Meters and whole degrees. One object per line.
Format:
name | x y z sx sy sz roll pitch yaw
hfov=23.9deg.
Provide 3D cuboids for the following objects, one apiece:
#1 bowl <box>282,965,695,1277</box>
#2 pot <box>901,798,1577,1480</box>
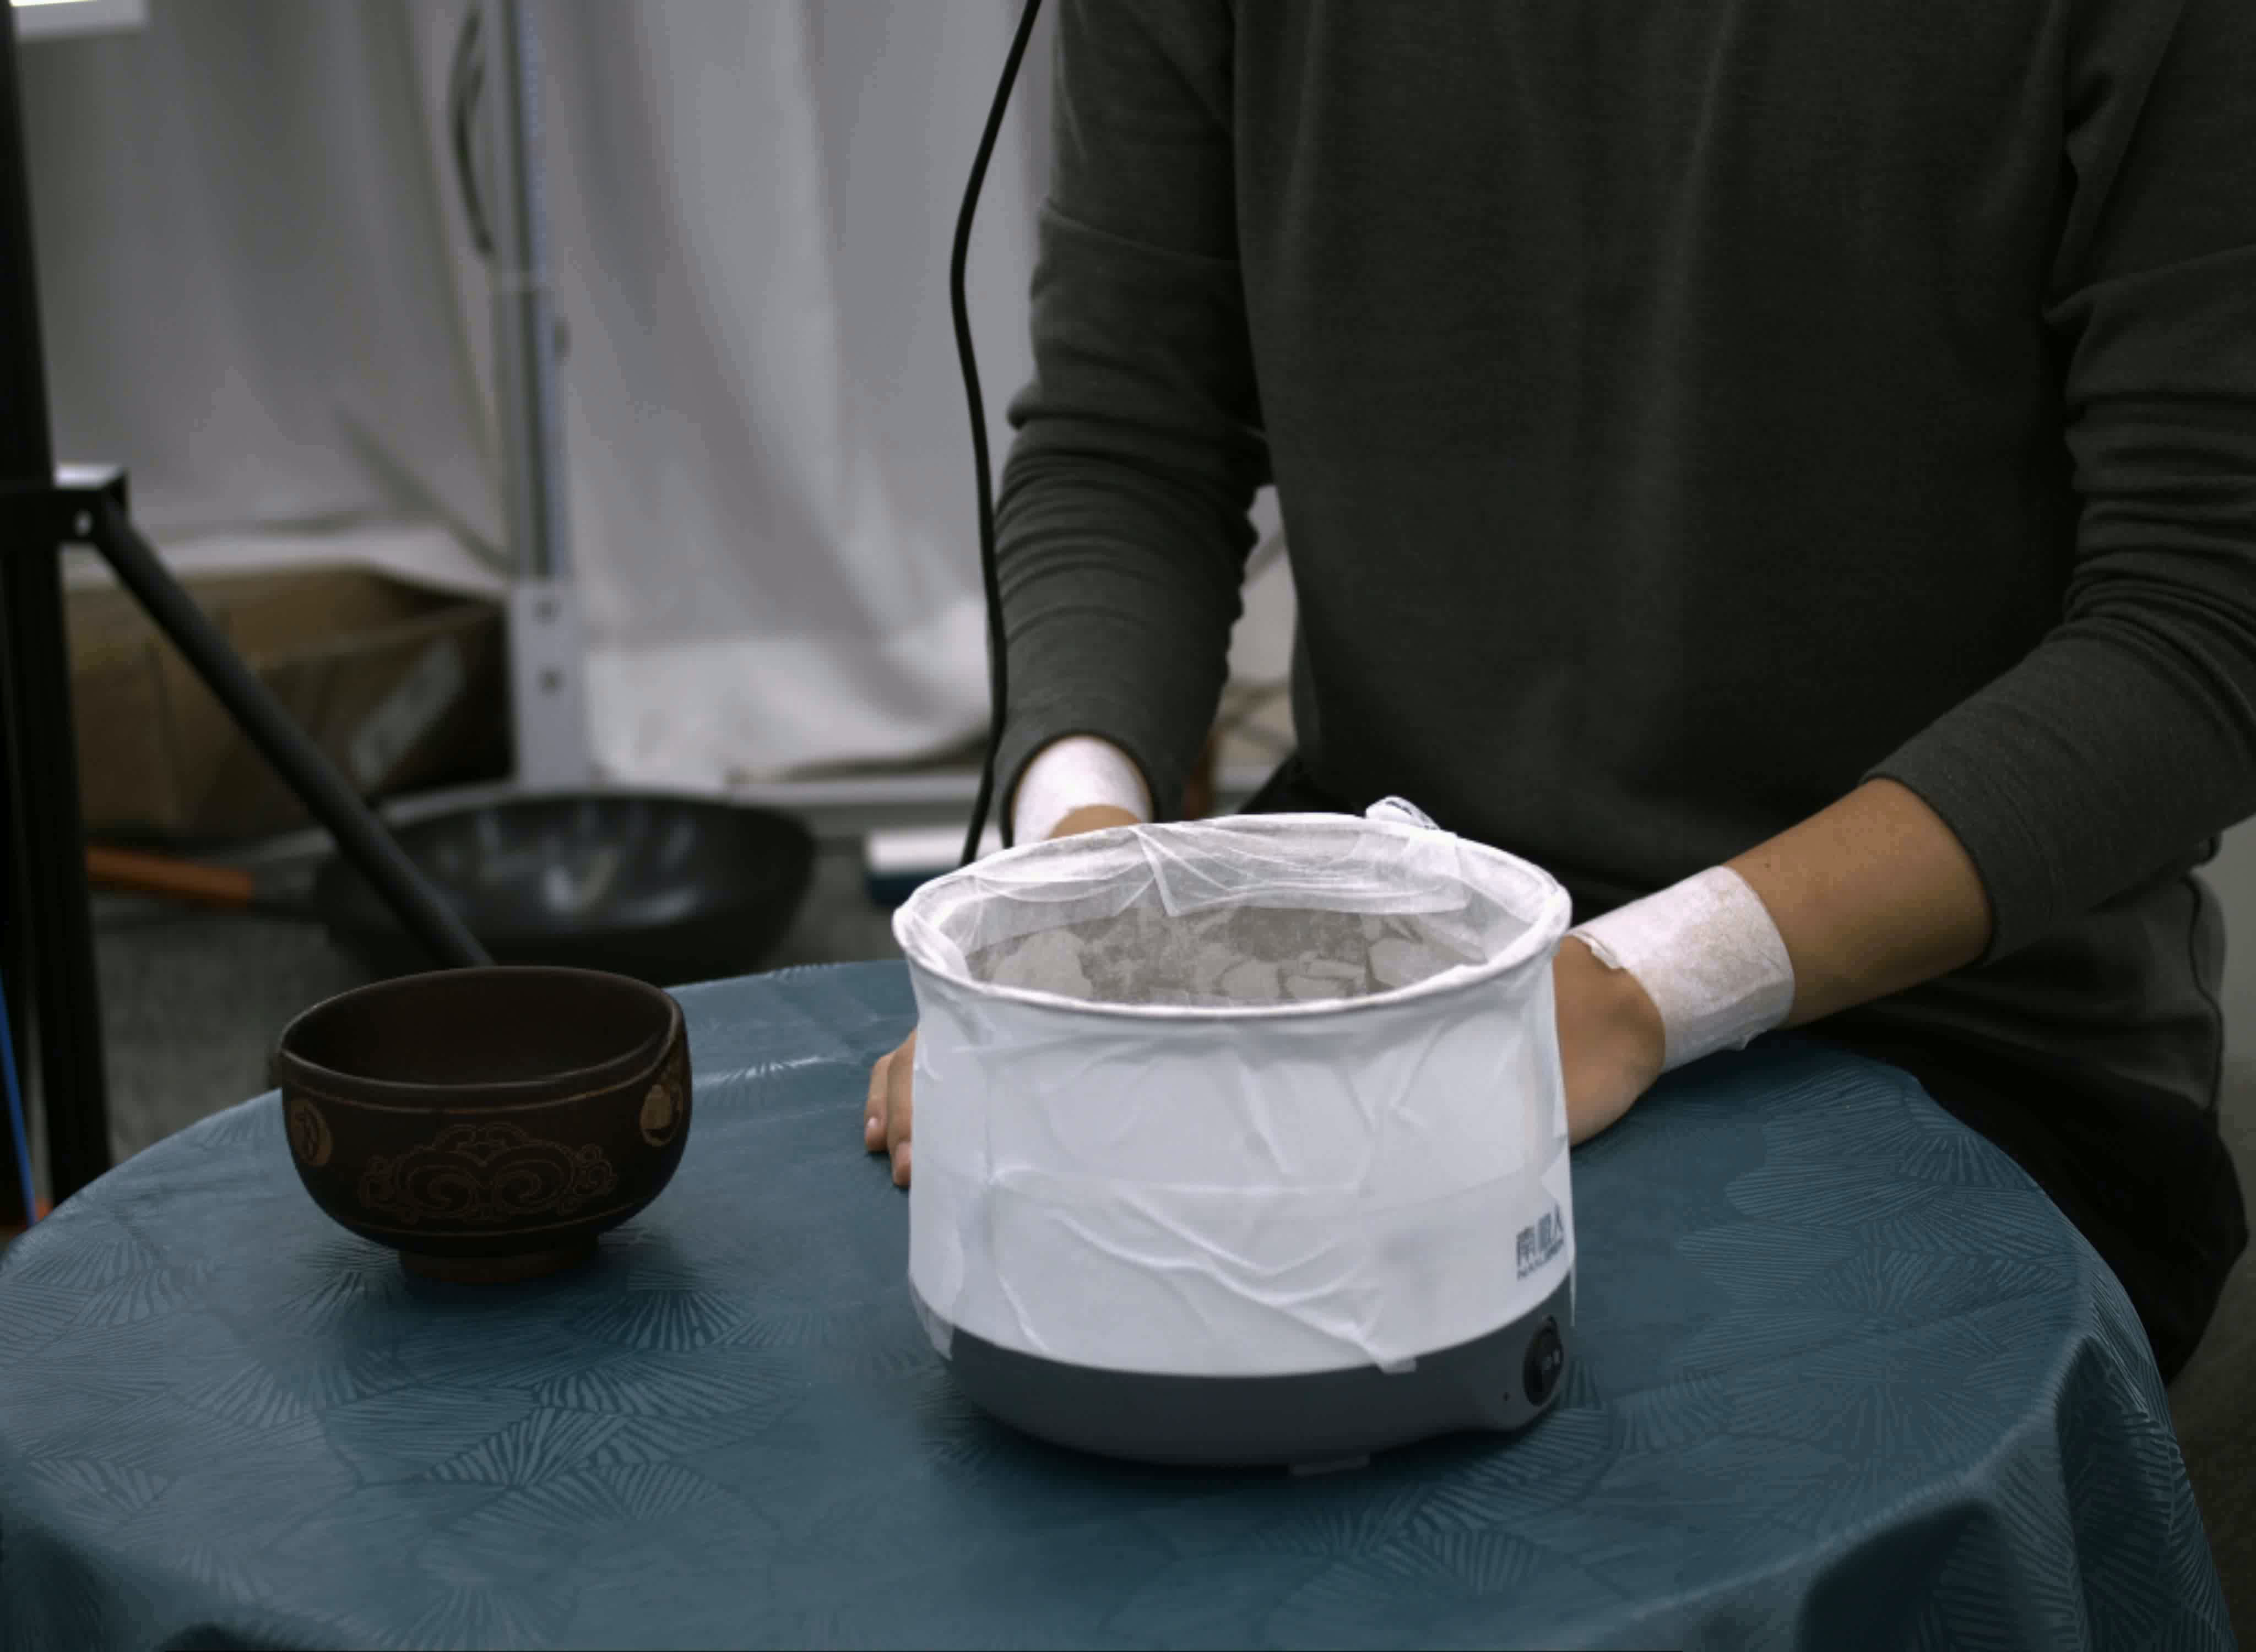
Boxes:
bowl | -0.182 0.088 1.530 0.117 0.070 0.118 -2 13 -1
pot | 0.042 0.076 1.419 0.181 0.136 0.230 6 17 27
